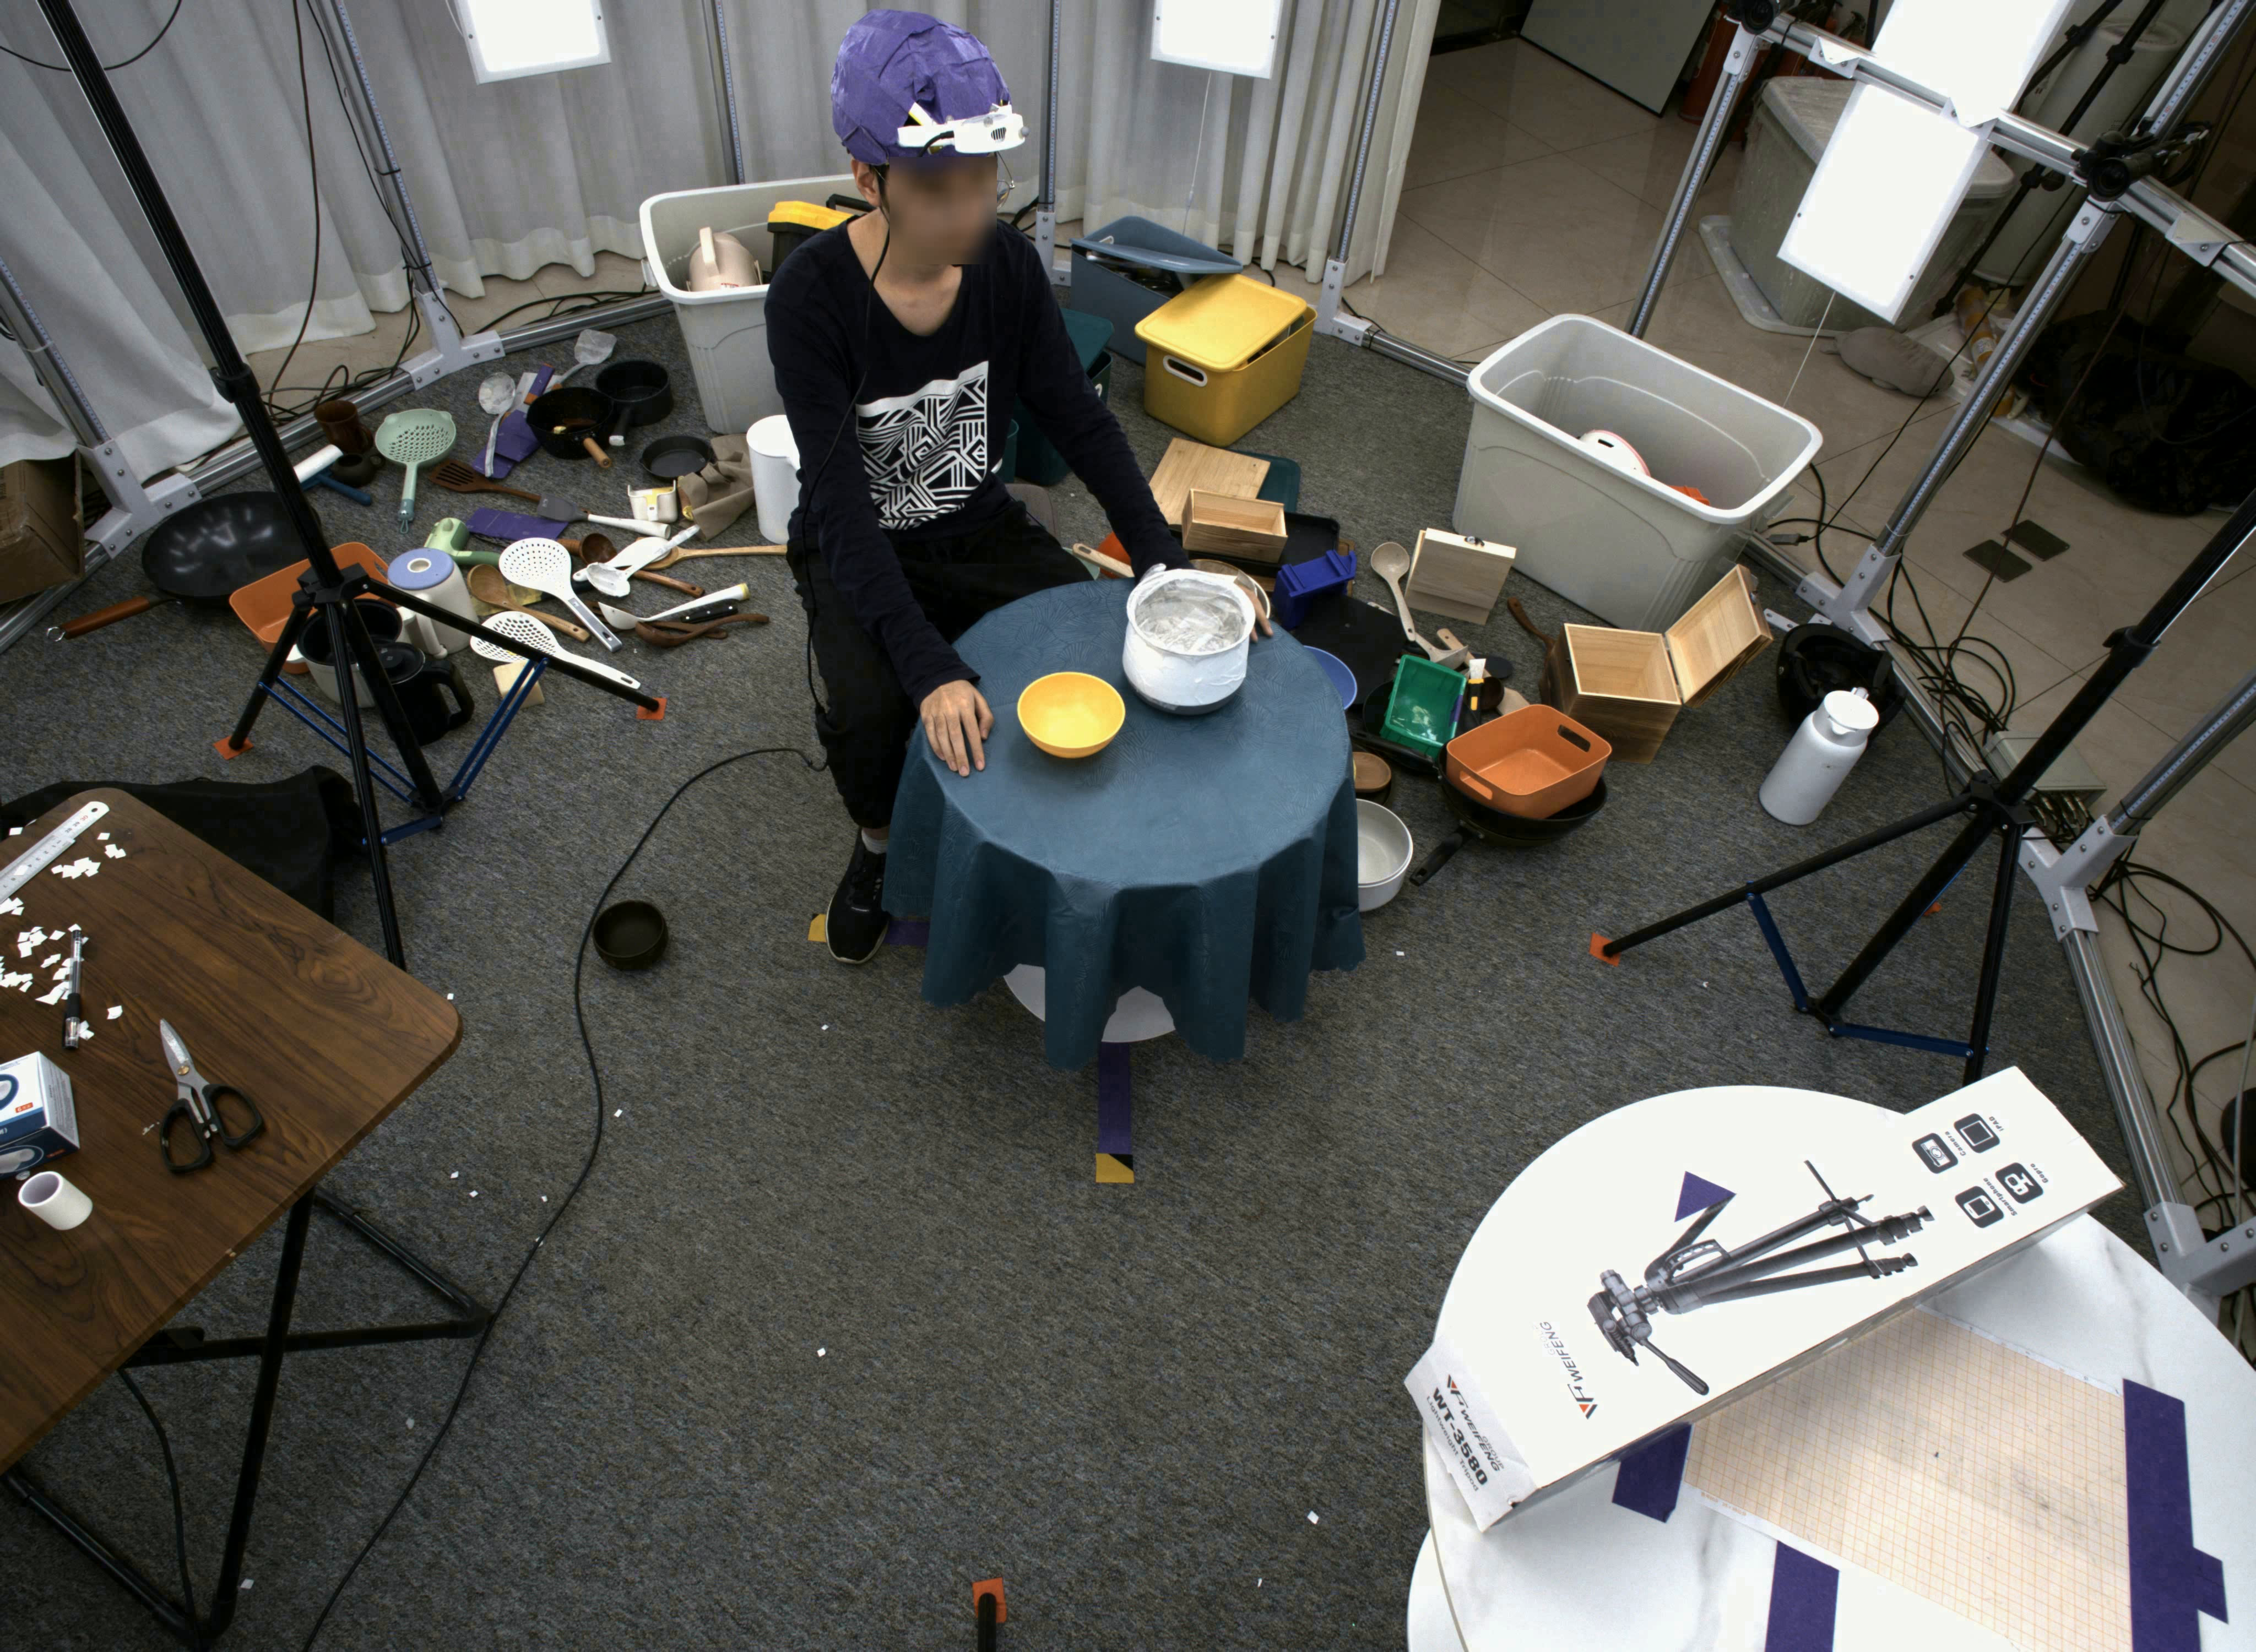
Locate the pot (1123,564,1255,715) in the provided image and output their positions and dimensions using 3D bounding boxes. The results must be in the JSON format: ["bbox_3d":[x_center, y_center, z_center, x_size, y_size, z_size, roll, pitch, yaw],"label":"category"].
[{"bbox_3d":[0.072,-0.274,1.824,0.179,0.133,0.239,-17,51,-18],"label":"pot"}]

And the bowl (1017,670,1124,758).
[{"bbox_3d":[-0.080,-0.141,1.743,0.145,0.059,0.149,3,50,-4],"label":"bowl"}]
